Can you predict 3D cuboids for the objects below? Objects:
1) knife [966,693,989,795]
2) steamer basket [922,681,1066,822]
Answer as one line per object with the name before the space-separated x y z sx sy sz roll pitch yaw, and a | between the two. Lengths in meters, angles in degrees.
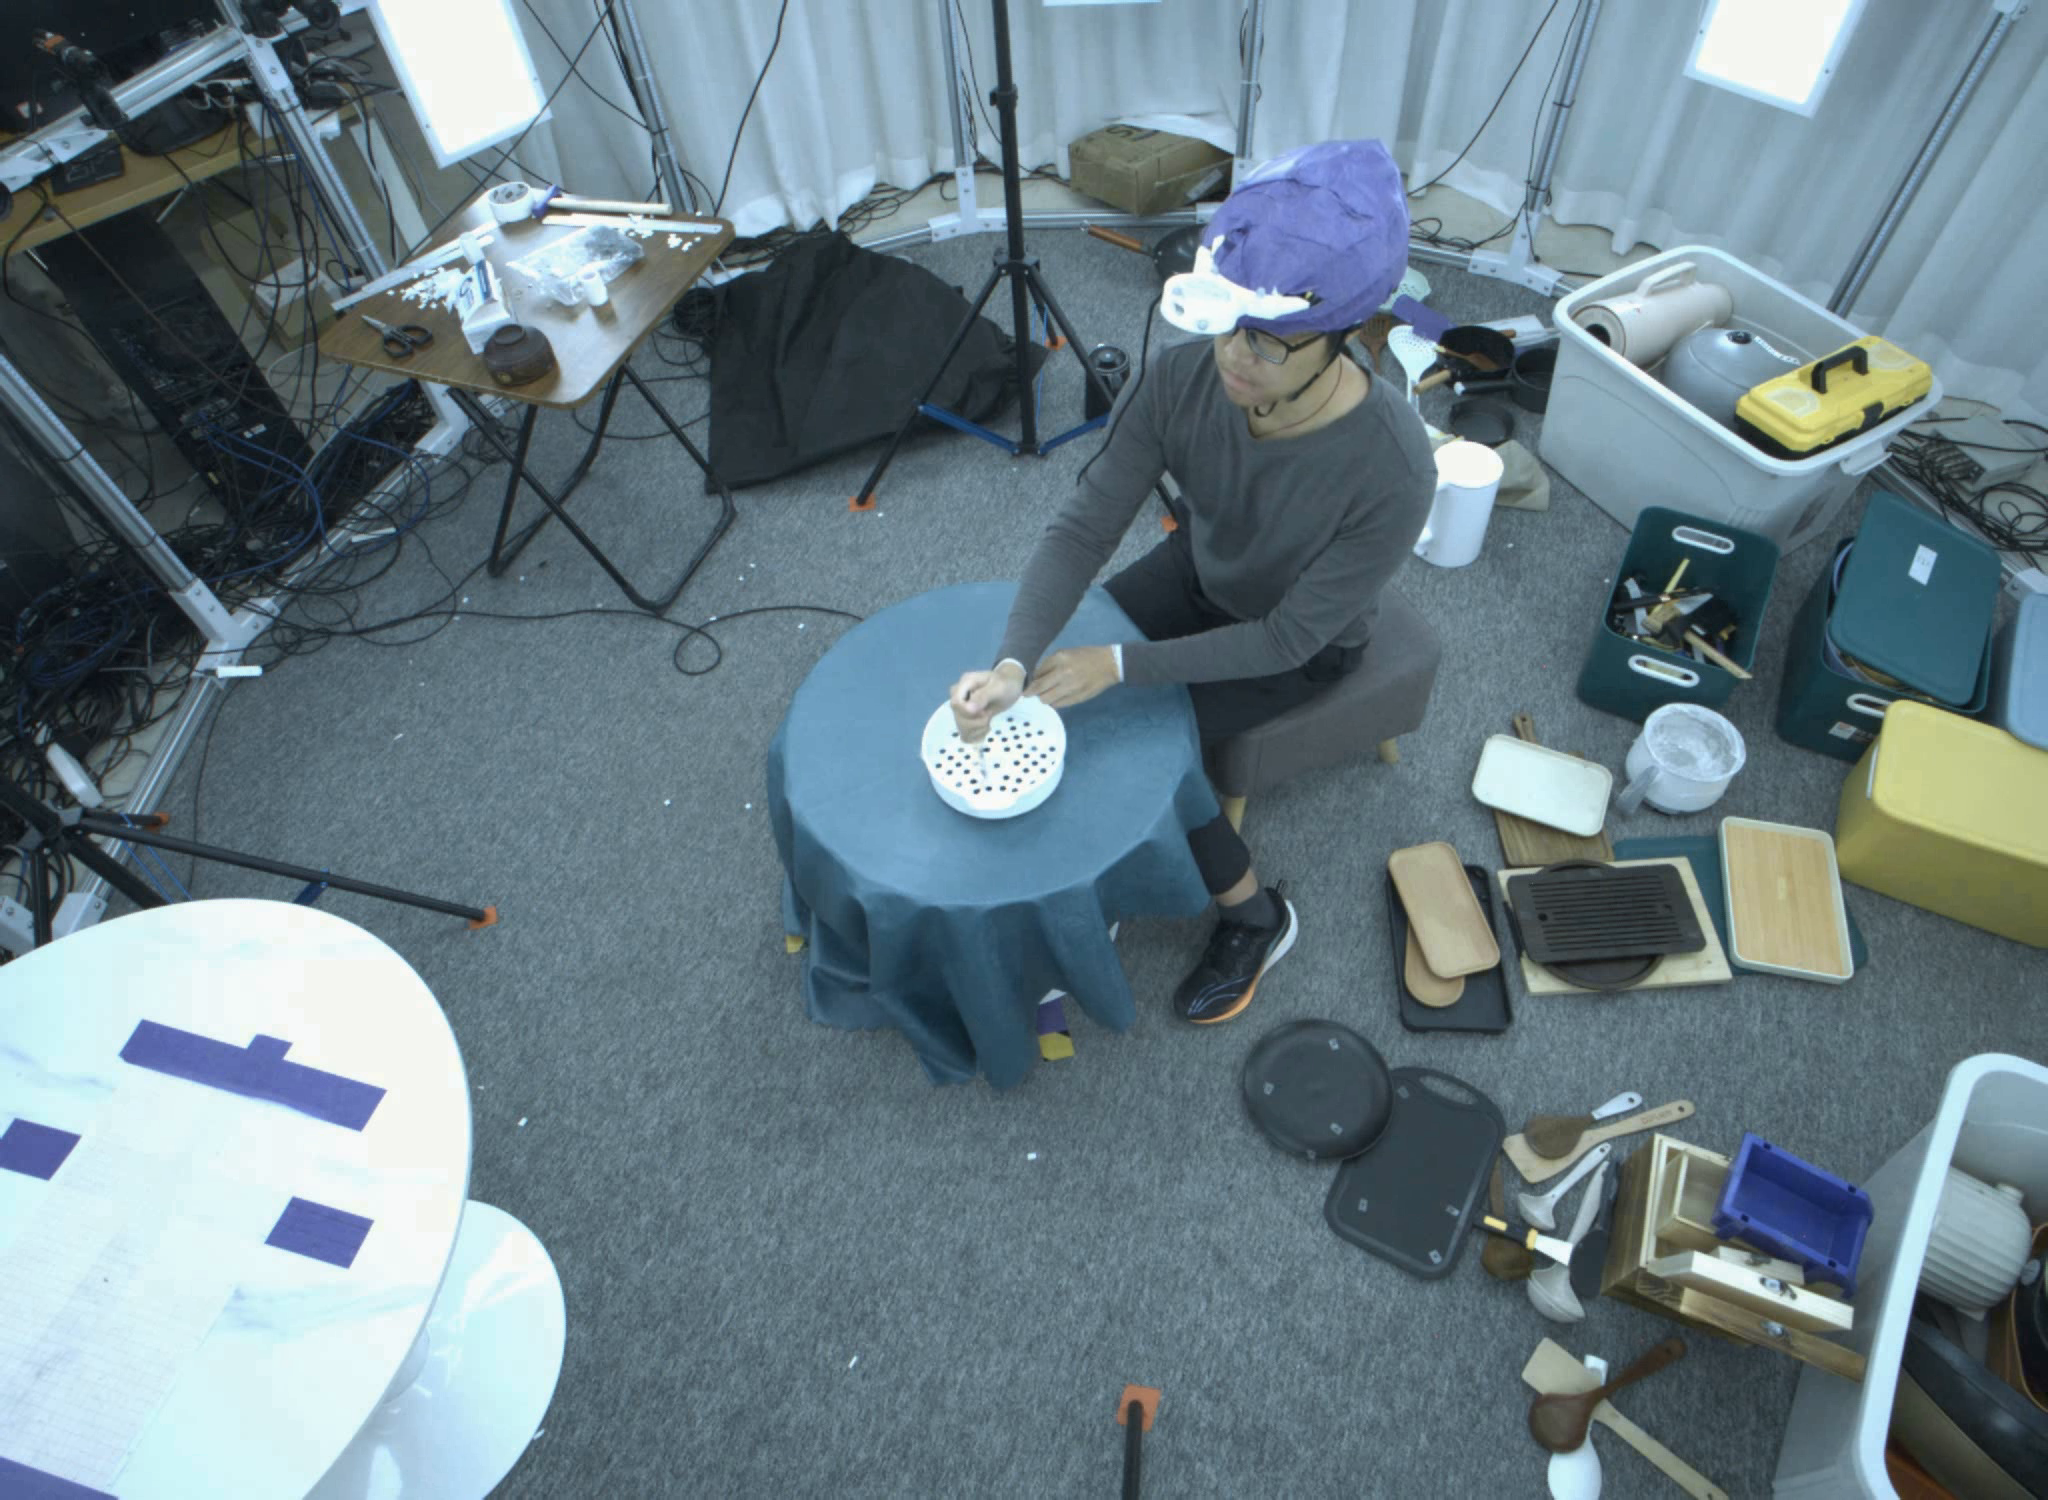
knife | -0.057 -0.004 1.622 0.016 0.241 0.024 7 58 9
steamer basket | -0.041 0.007 1.749 0.202 0.070 0.228 0 54 1
